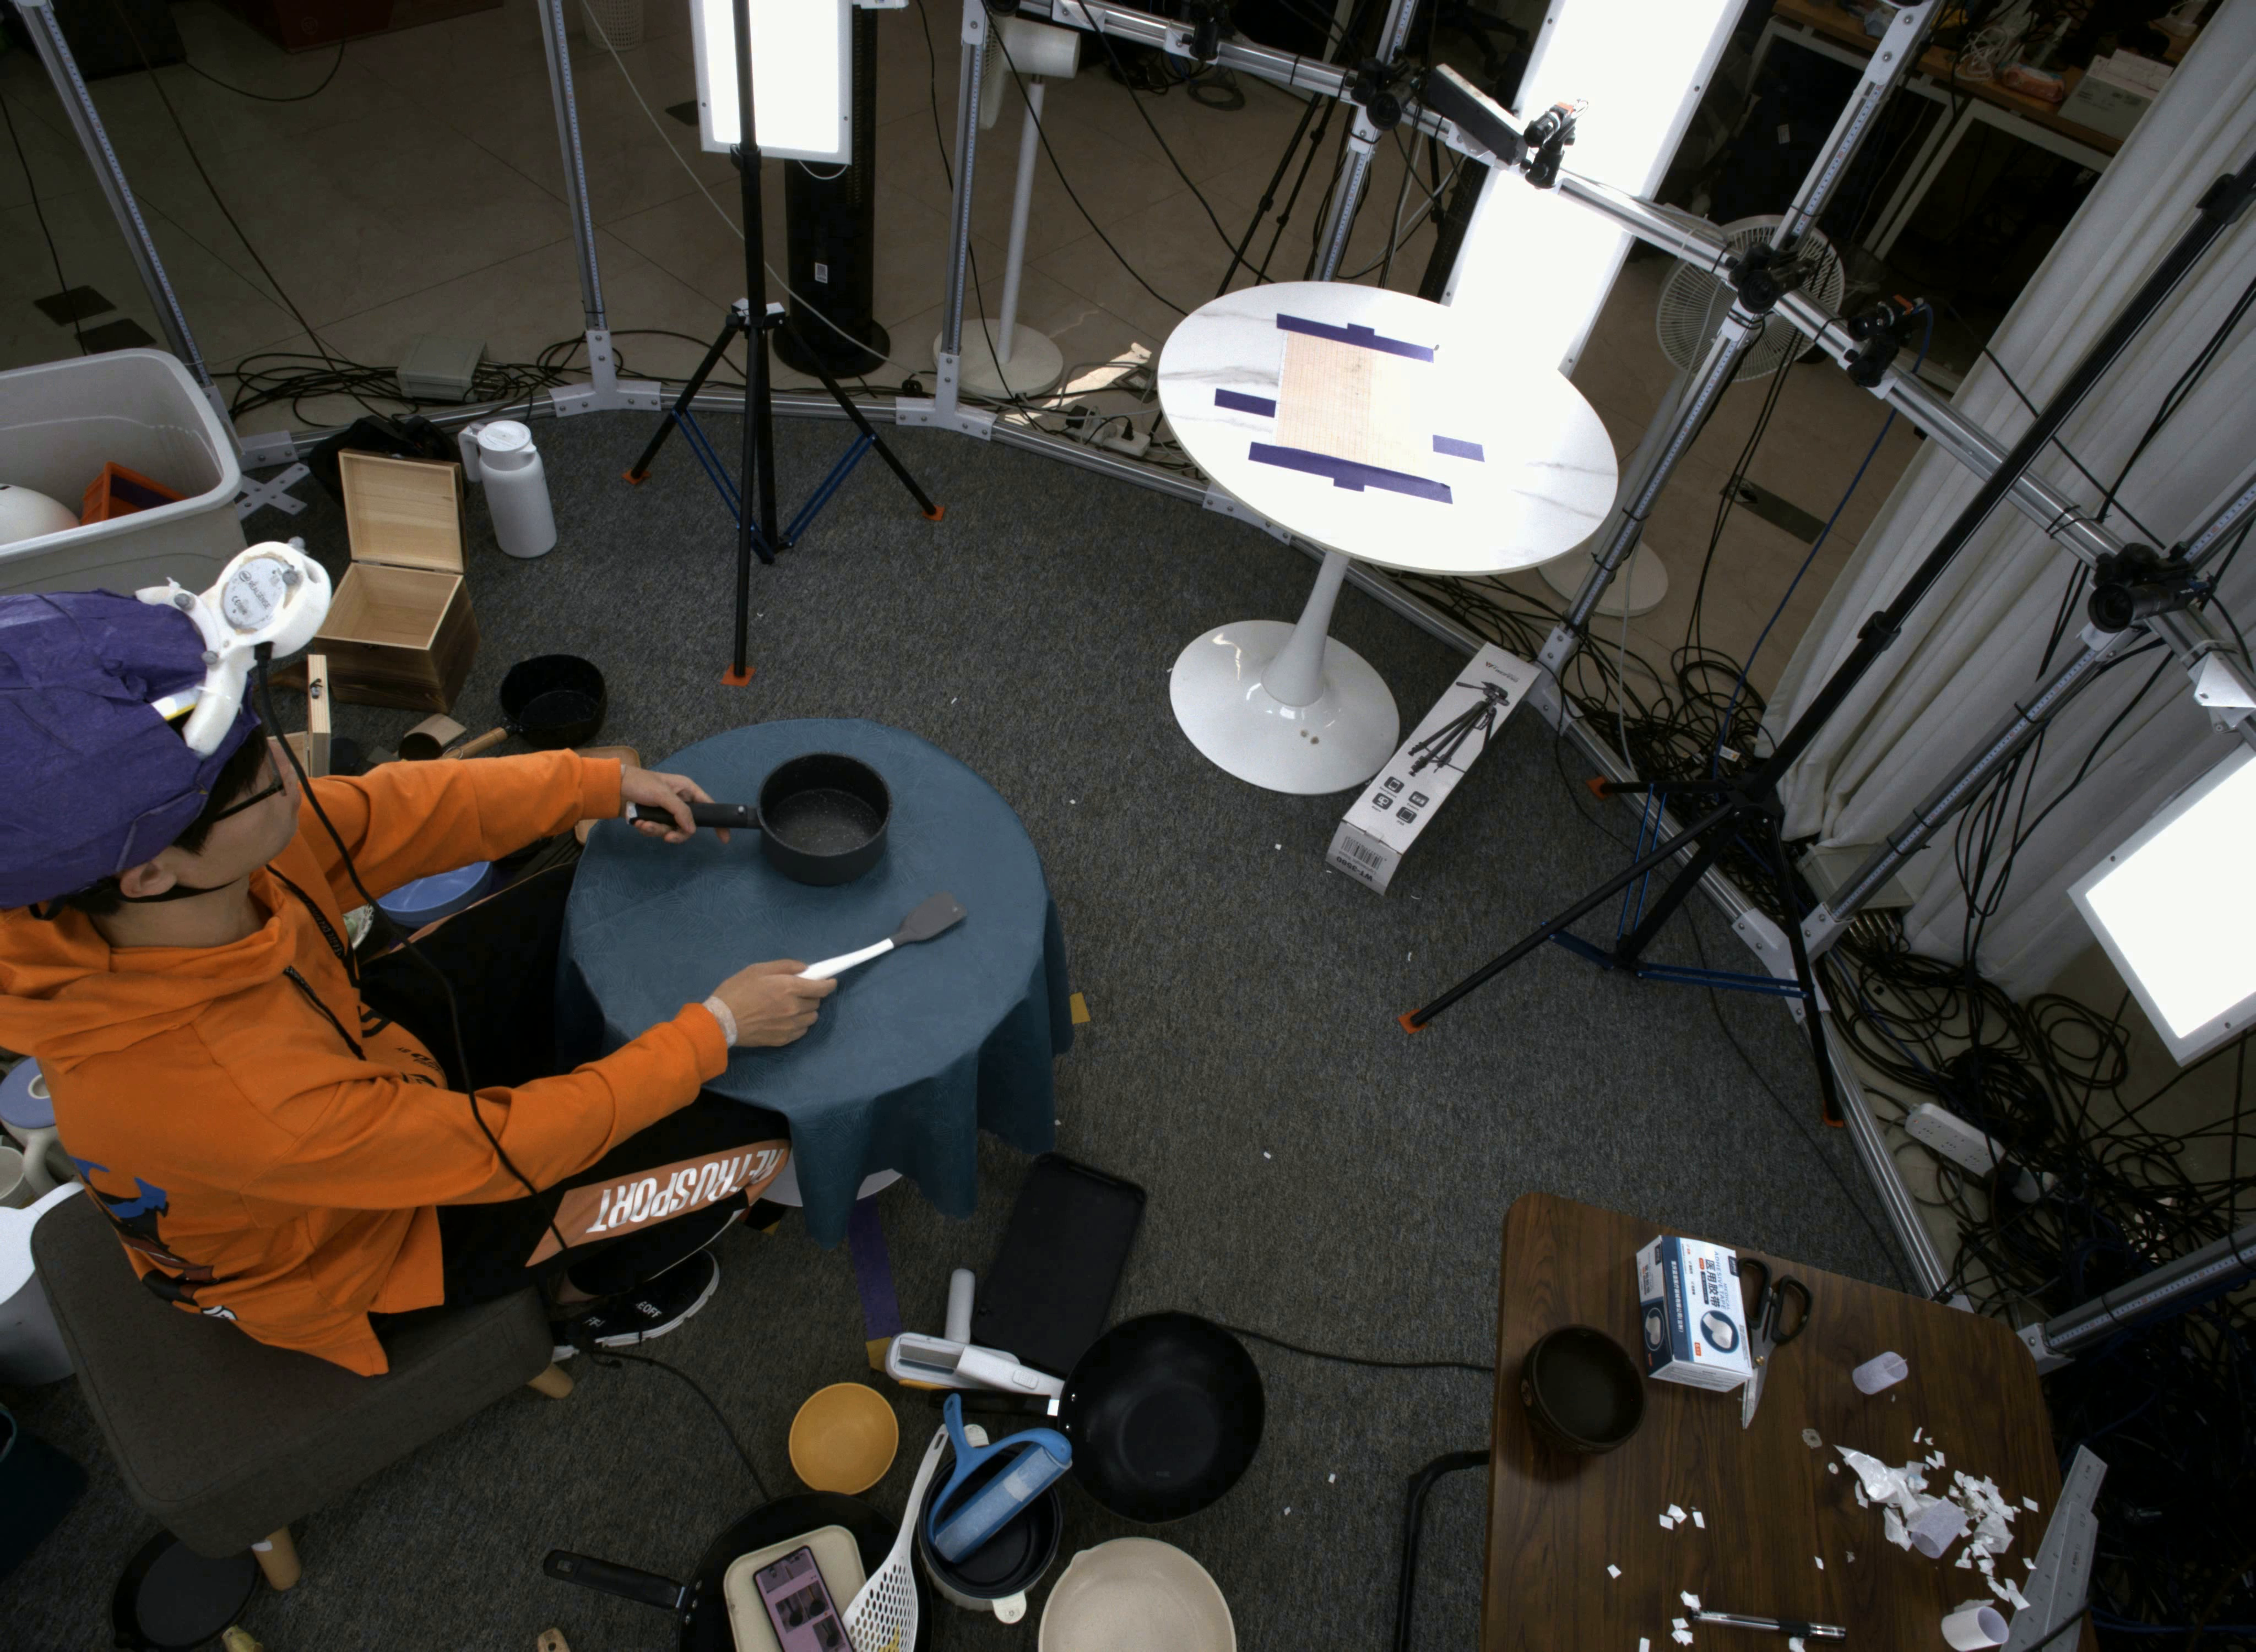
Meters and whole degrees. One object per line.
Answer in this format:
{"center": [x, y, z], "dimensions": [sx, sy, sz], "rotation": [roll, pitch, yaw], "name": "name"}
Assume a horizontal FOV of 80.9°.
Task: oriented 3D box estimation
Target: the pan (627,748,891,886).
{"center": [-0.470, -0.010, 1.650], "dimensions": [0.330, 0.088, 0.168], "rotation": [-1, 52, -19], "name": "pan"}

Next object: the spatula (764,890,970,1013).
{"center": [-0.318, 0.151, 1.599], "dimensions": [0.057, 0.033, 0.289], "rotation": [37, 43, 27], "name": "spatula"}
